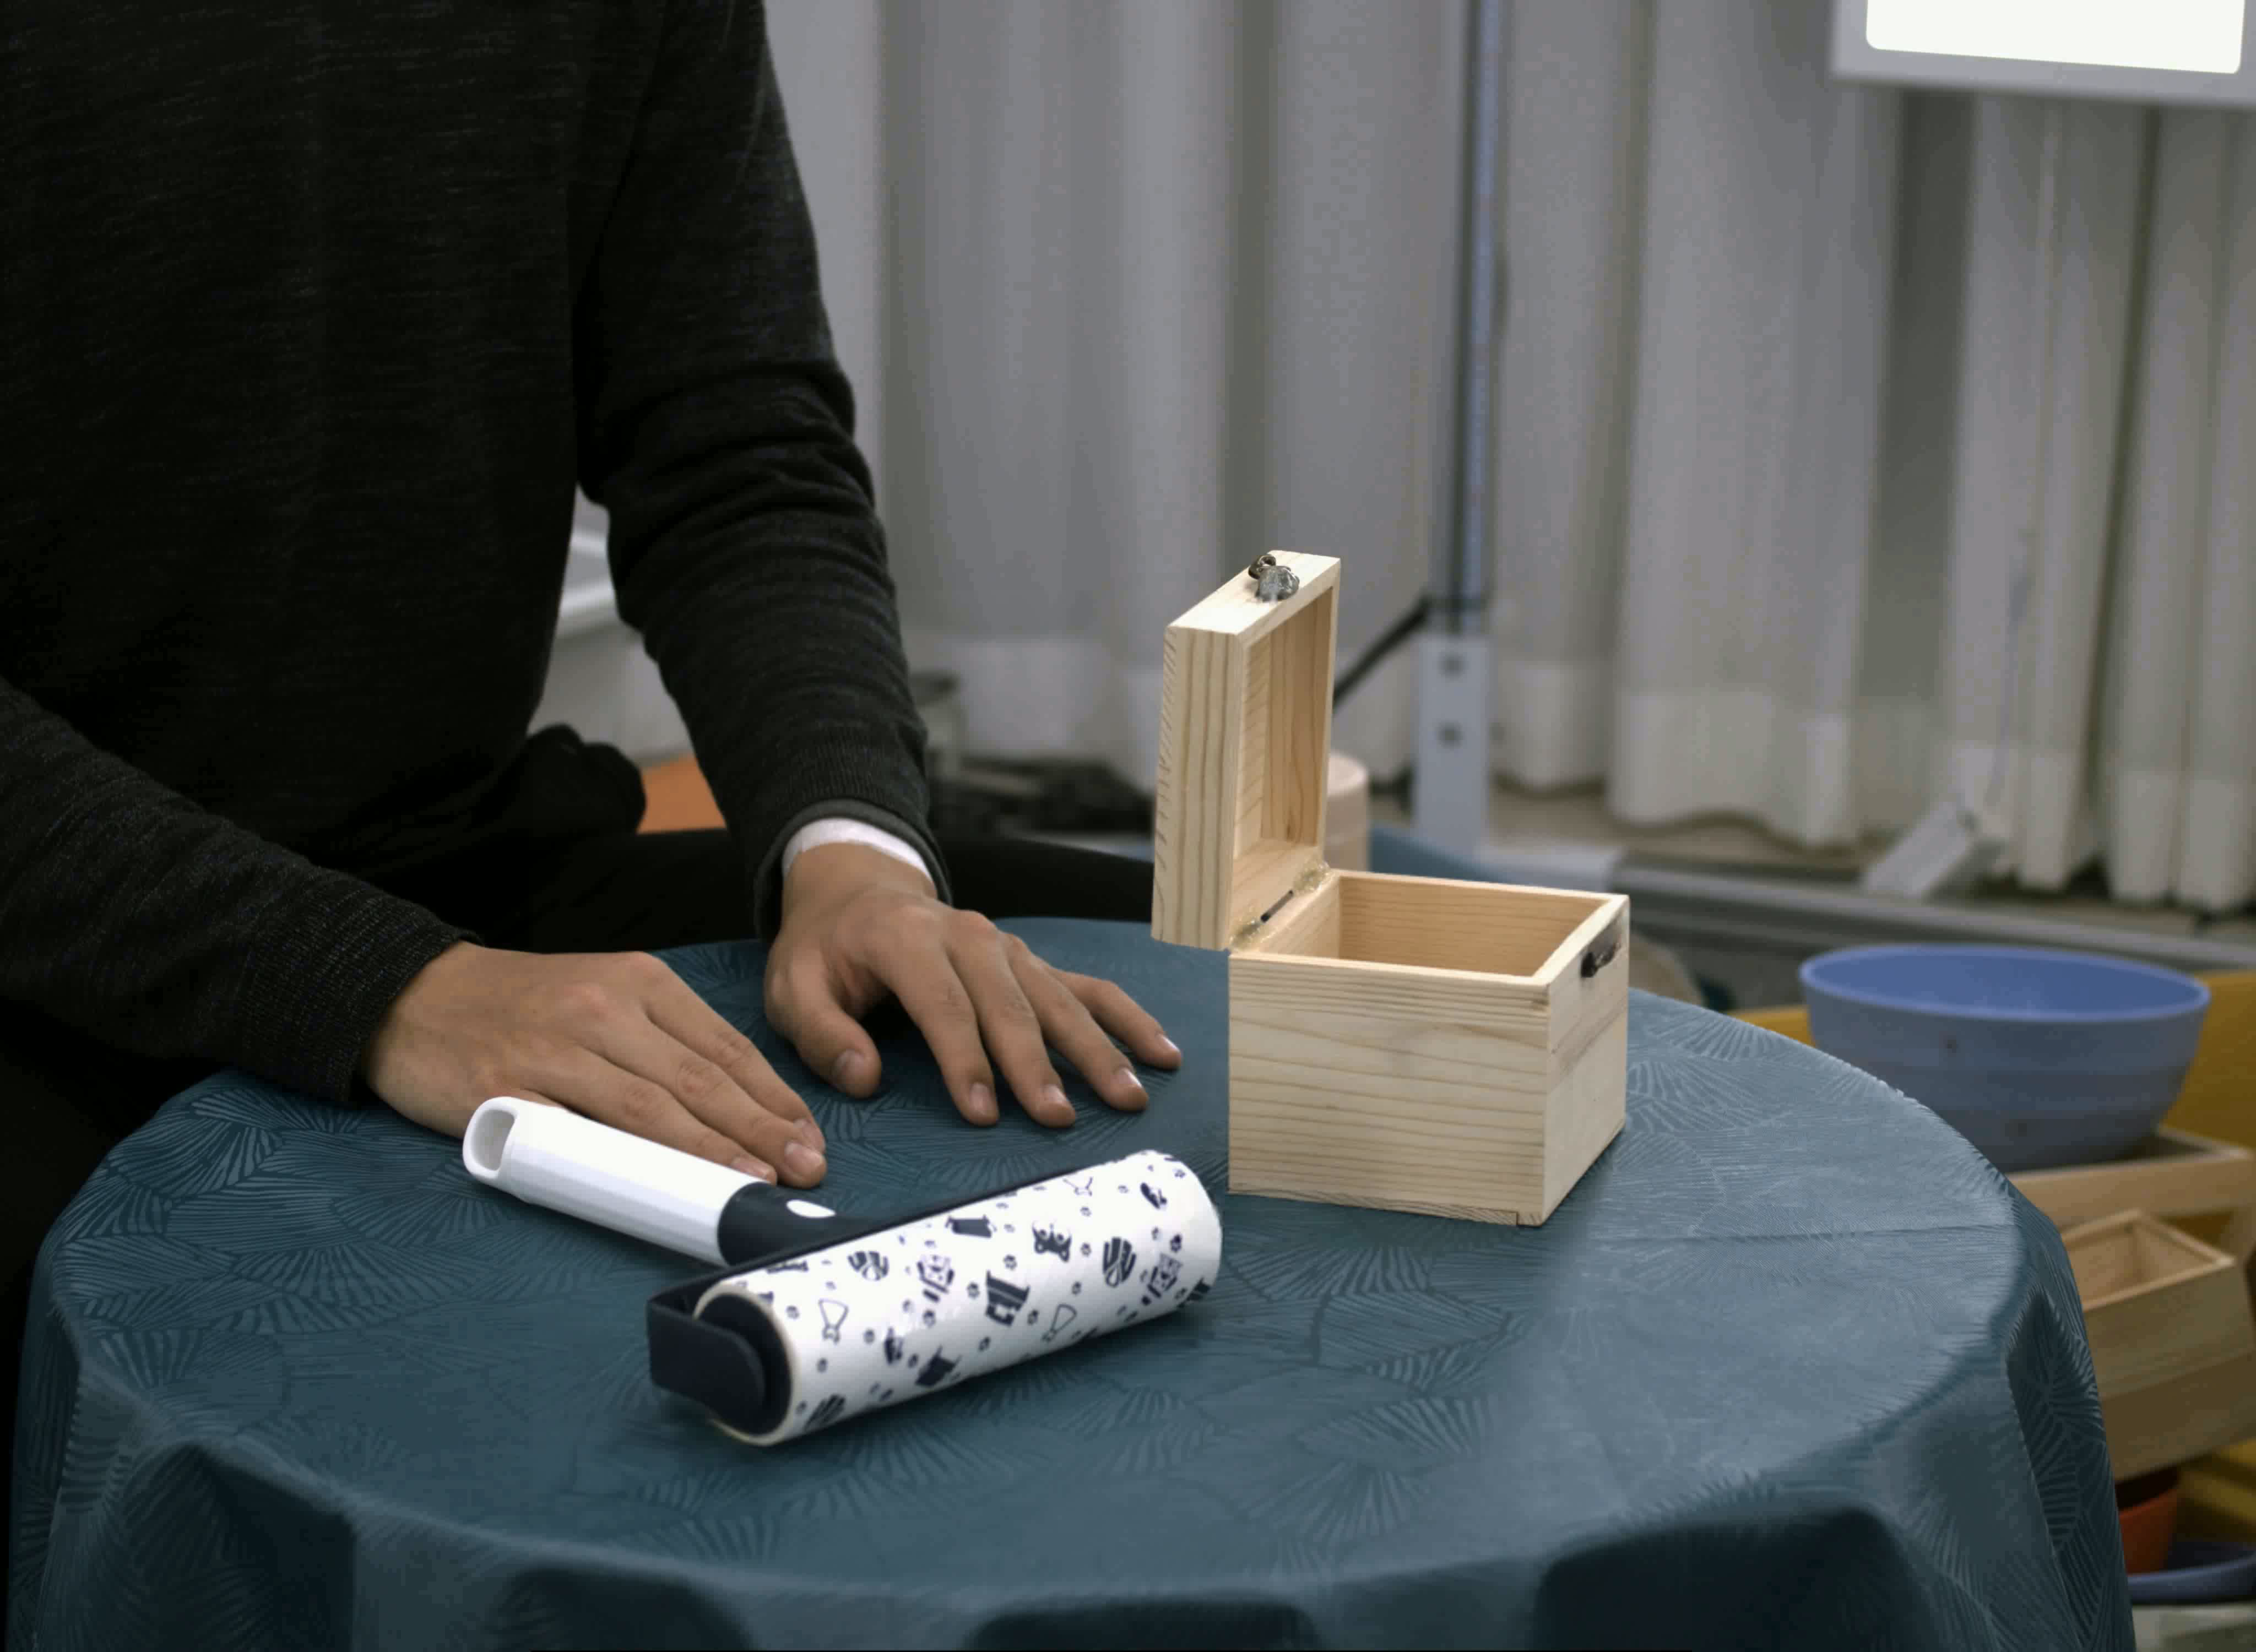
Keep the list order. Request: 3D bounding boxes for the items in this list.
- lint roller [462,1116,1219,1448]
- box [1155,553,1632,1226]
[{"bbox_3d":[-0.117,0.113,1.535,0.177,0.051,0.244,-15,21,-42],"label":"lint roller"},{"bbox_3d":[0.086,0.016,1.628,0.133,0.186,0.102,5,16,18],"label":"box"}]
